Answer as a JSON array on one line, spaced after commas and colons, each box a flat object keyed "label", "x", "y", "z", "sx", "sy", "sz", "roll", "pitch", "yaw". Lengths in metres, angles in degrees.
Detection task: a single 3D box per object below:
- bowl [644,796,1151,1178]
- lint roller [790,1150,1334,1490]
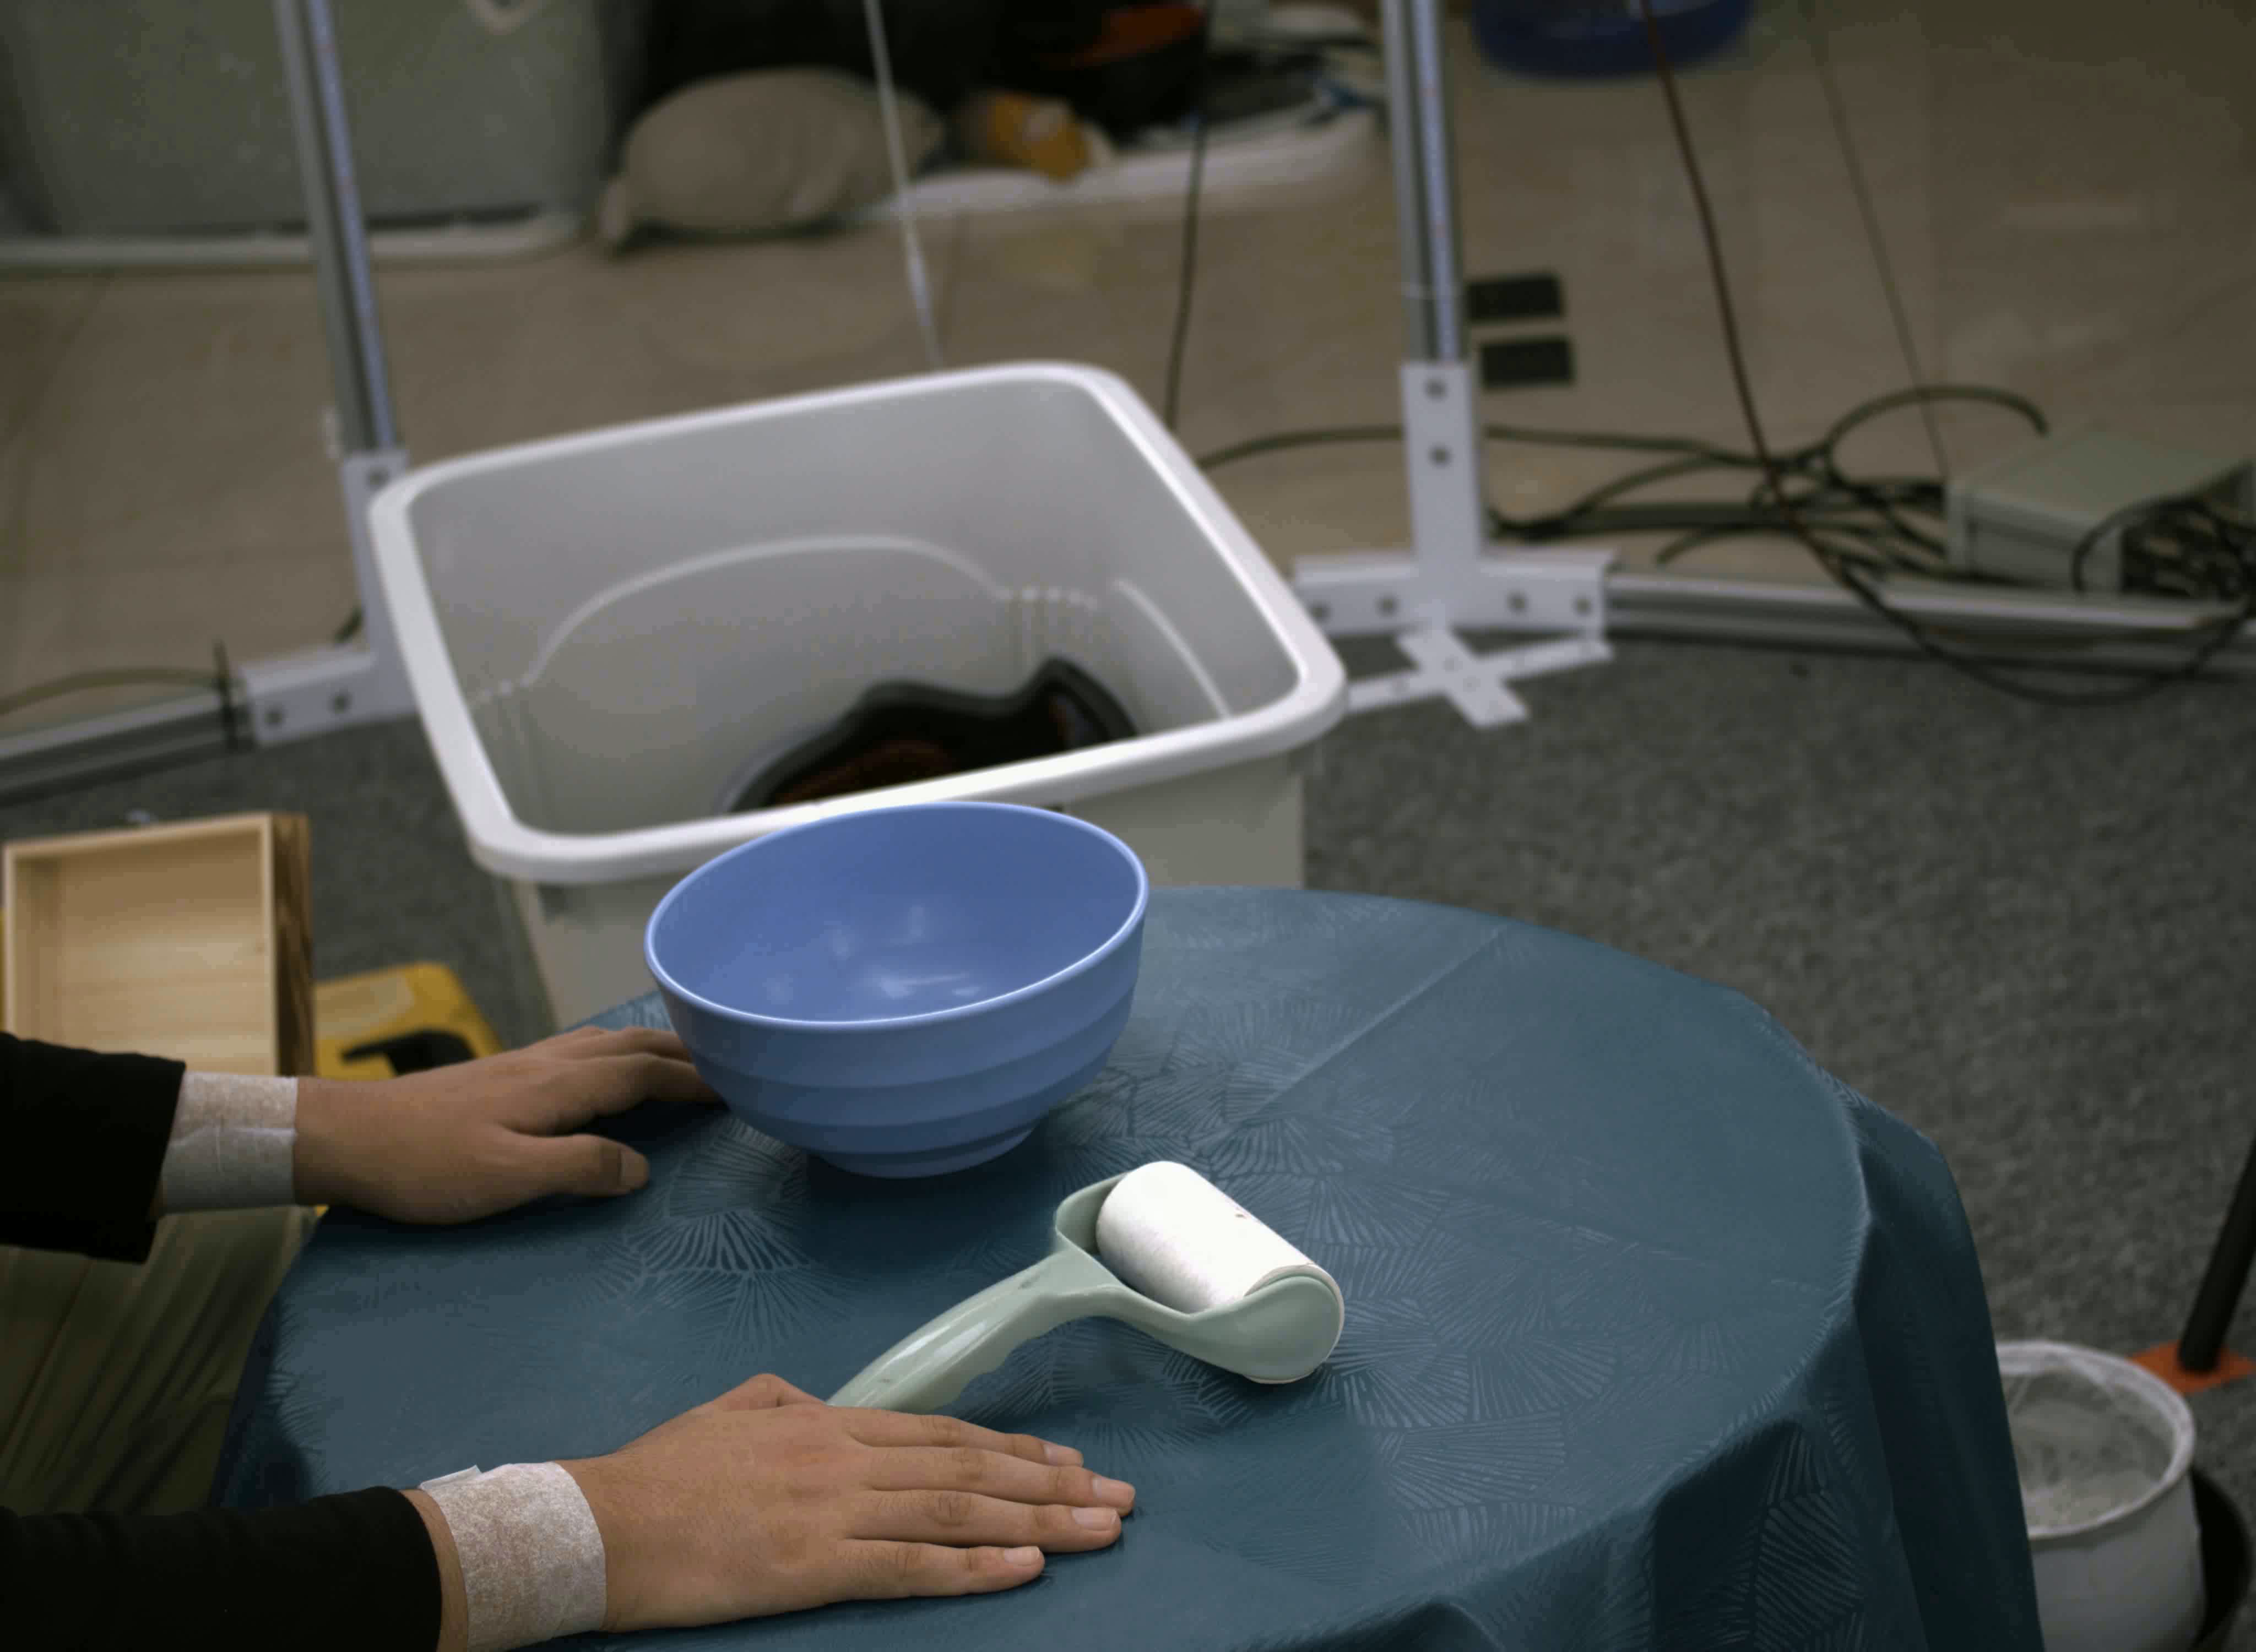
[{"label": "bowl", "x": -0.084, "y": 0.073, "z": 2.195, "sx": 0.196, "sy": 0.097, "sz": 0.193, "roll": -5, "pitch": 26, "yaw": 2}, {"label": "lint roller", "x": -0.035, "y": 0.179, "z": 2.017, "sx": 0.196, "sy": 0.049, "sz": 0.115, "roll": -19, "pitch": 29, "yaw": -22}]
